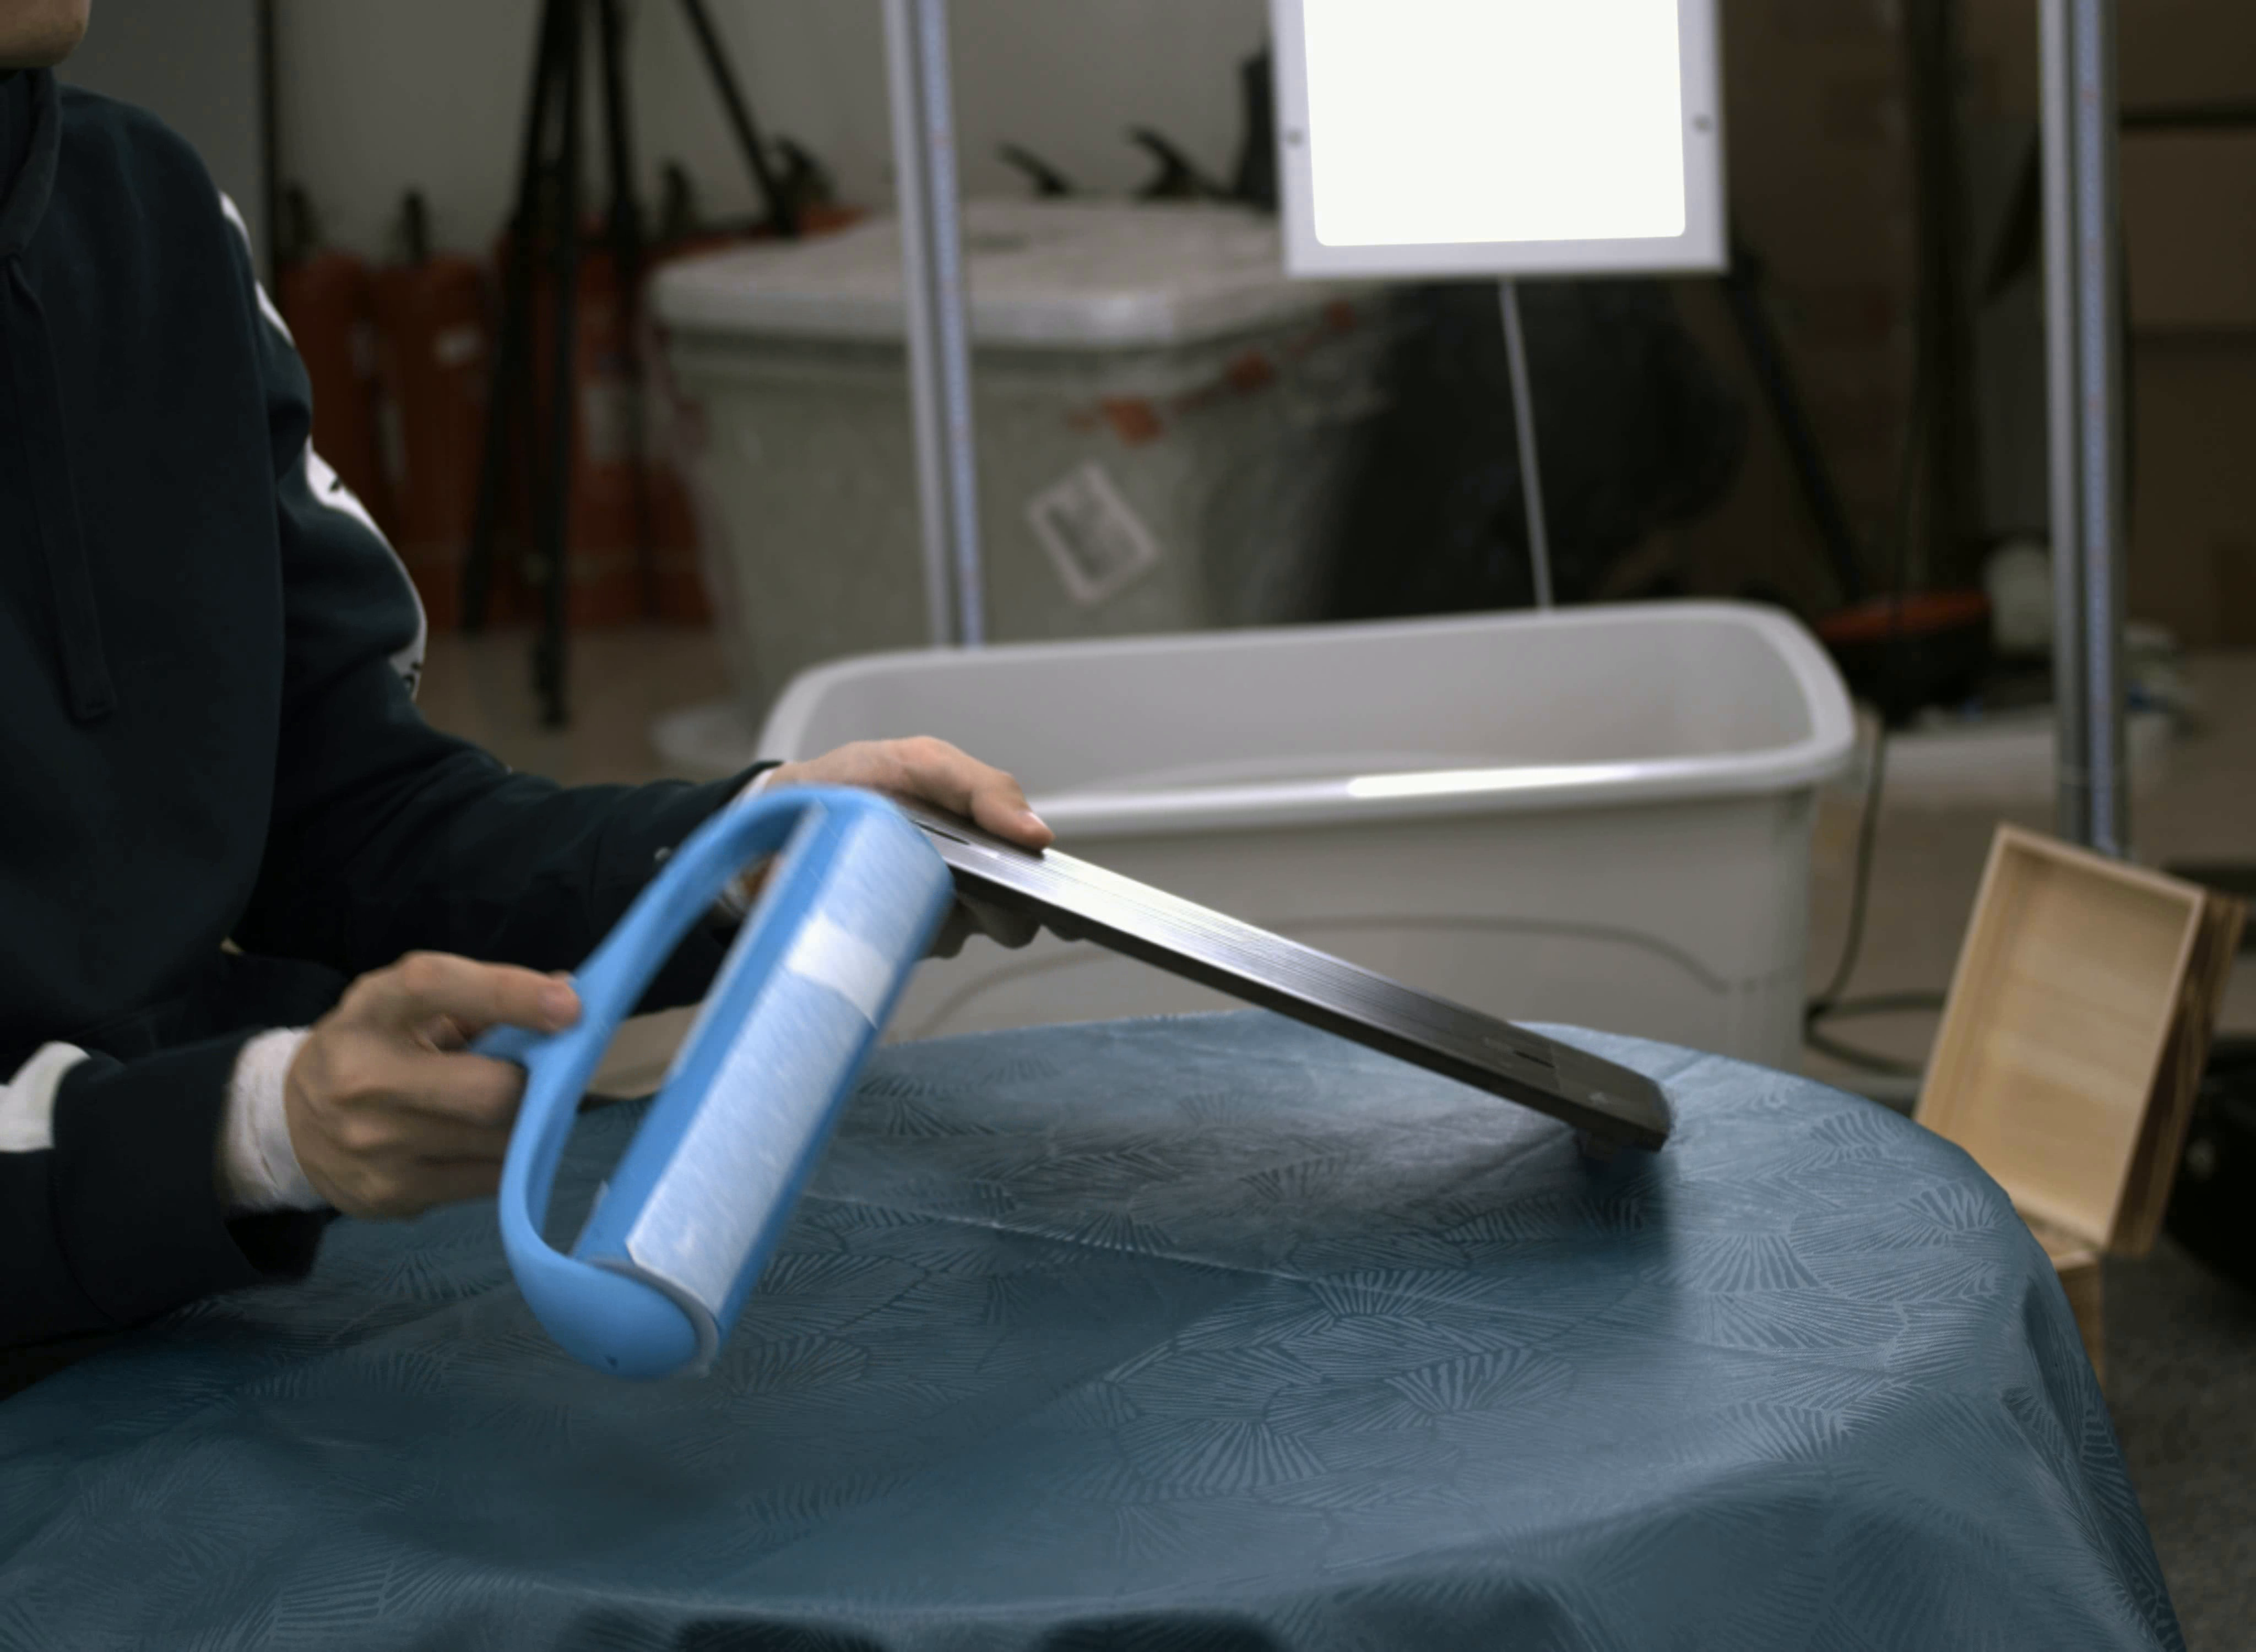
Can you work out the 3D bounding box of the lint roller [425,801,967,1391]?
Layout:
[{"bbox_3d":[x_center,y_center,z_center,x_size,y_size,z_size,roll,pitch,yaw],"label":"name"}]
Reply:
[{"bbox_3d":[-0.159,0.087,1.711,0.184,0.067,0.226,-8,41,32],"label":"lint roller"}]

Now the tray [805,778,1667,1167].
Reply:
[{"bbox_3d":[0.037,0.049,1.880,0.306,0.019,0.169,20,6,3],"label":"tray"}]
